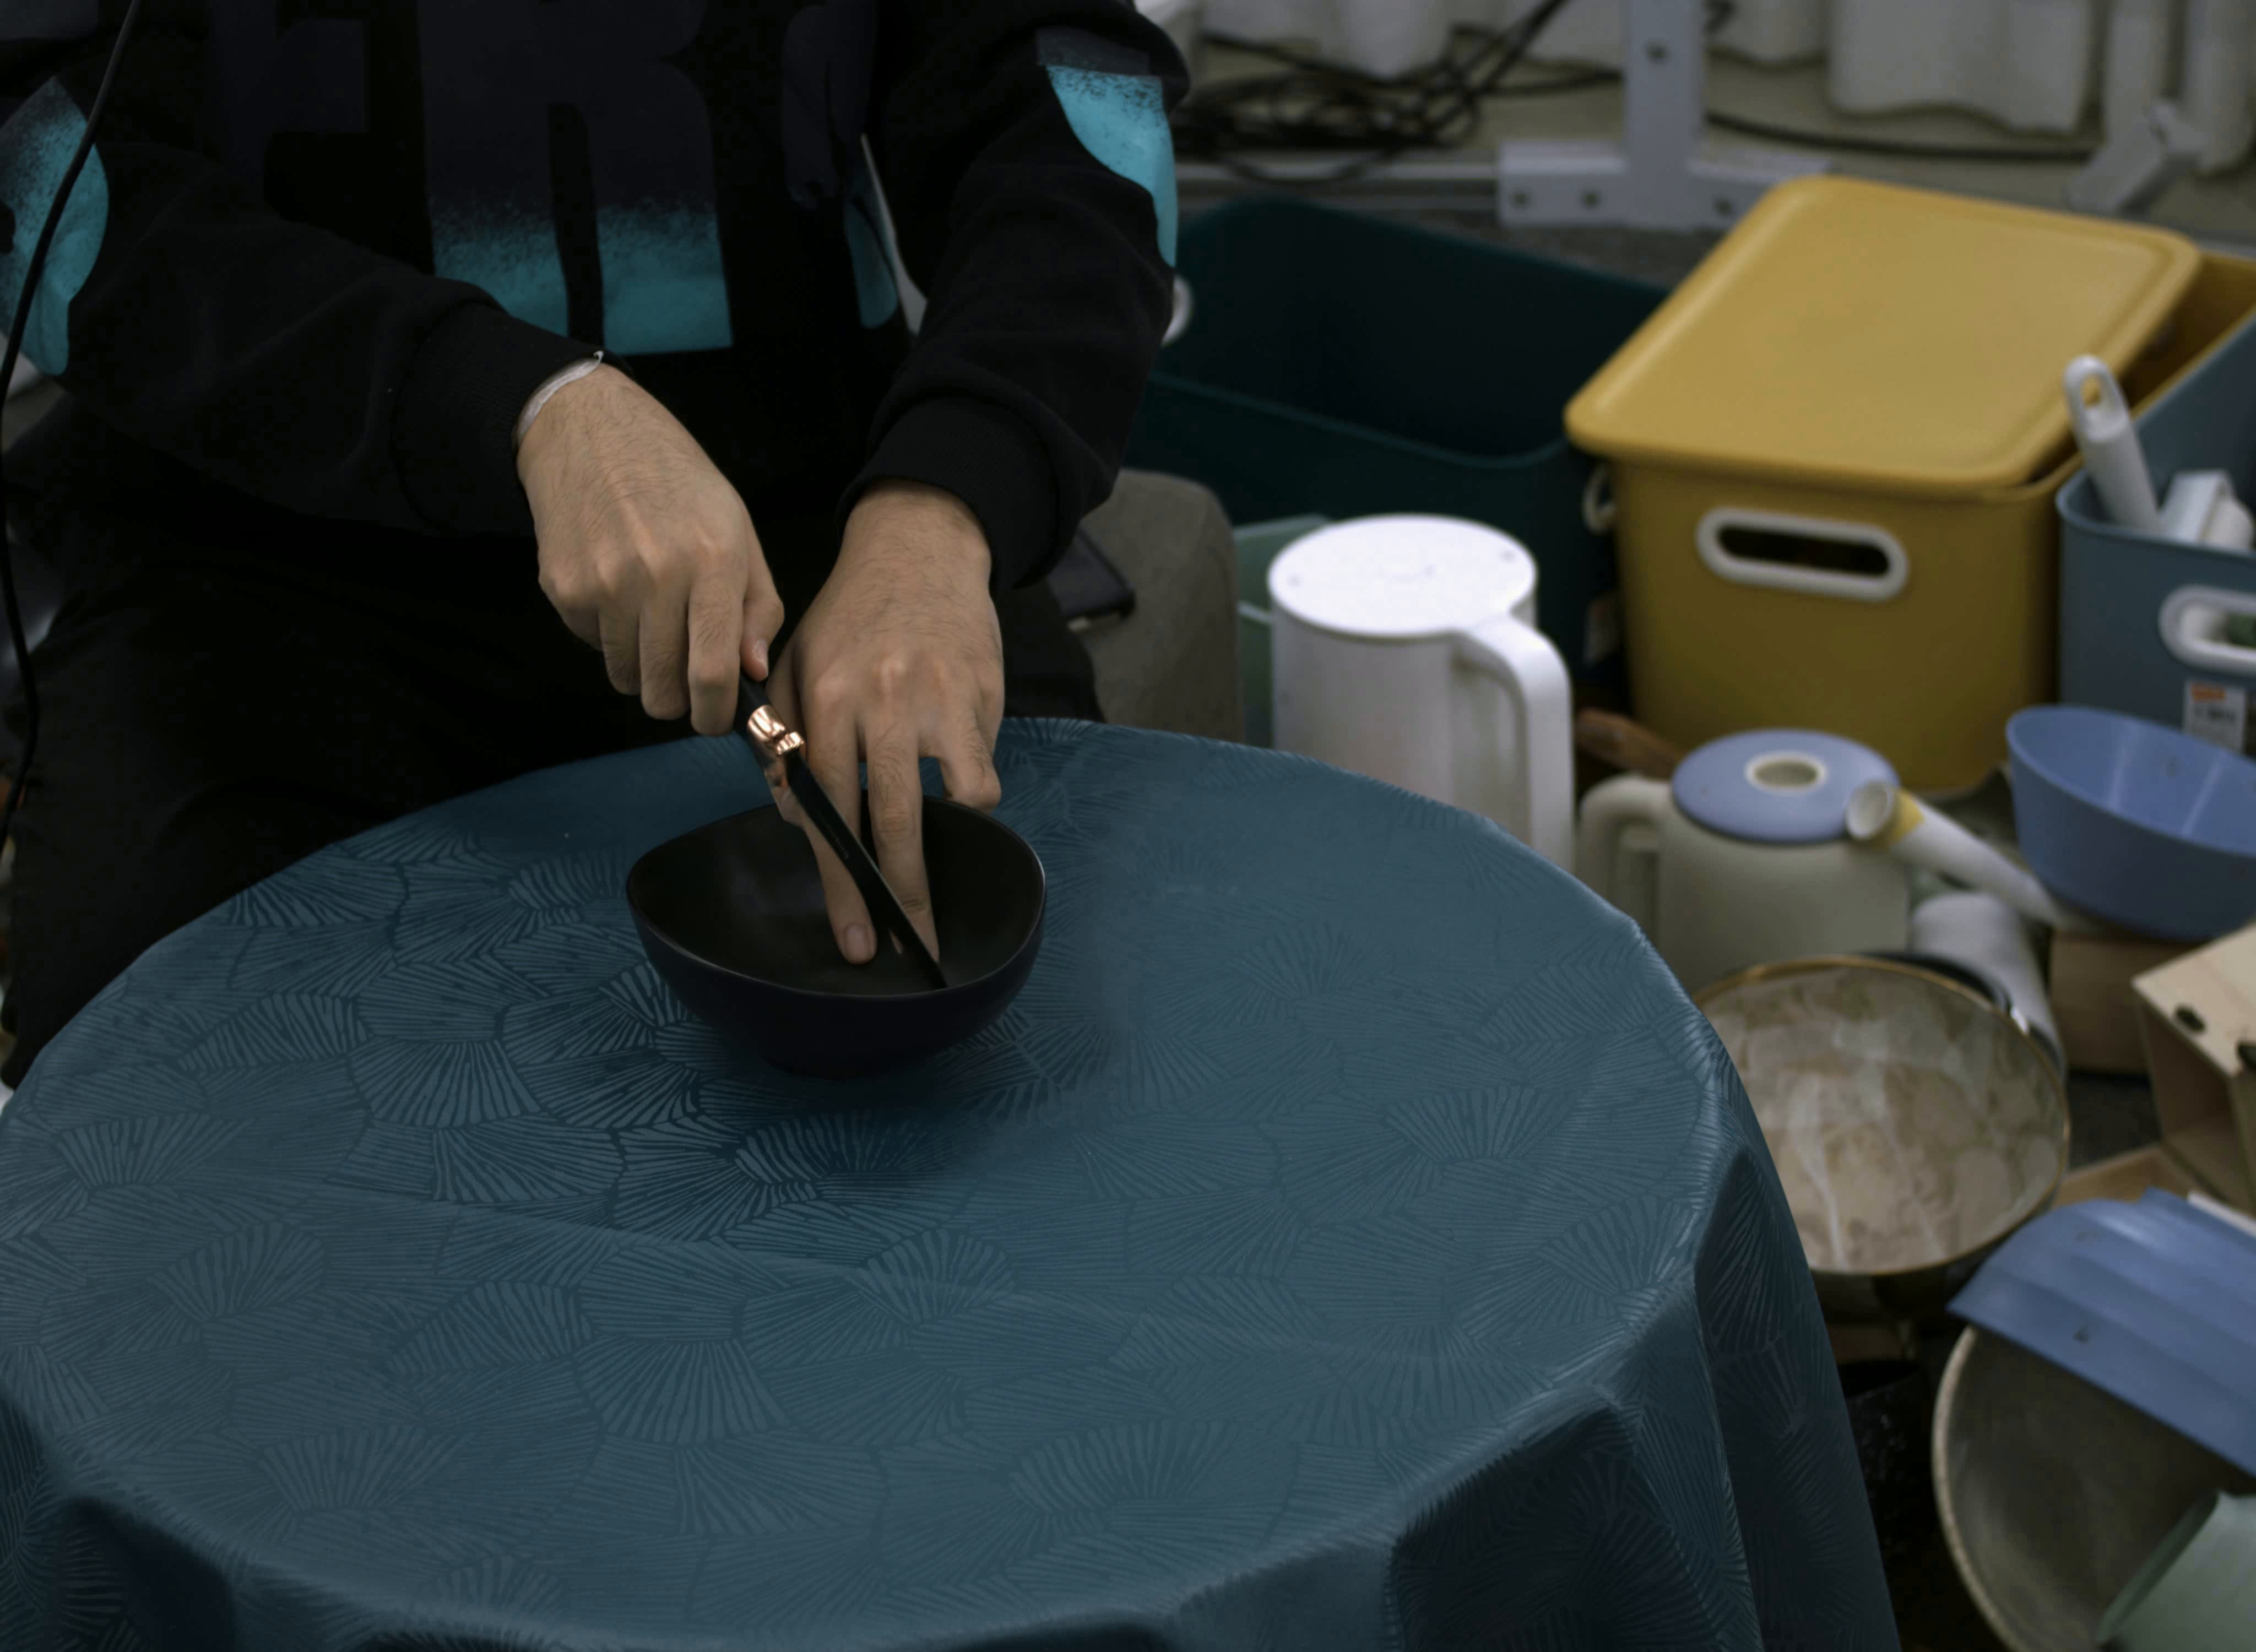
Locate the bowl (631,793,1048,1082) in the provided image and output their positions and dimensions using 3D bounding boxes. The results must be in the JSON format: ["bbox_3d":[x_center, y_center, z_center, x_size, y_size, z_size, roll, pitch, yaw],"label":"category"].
[{"bbox_3d":[-0.100,0.046,1.948,0.138,0.066,0.170,-21,30,-31],"label":"bowl"}]

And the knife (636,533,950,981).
[{"bbox_3d":[-0.115,-0.021,1.976,0.017,0.026,0.228,-25,61,-19],"label":"knife"}]
